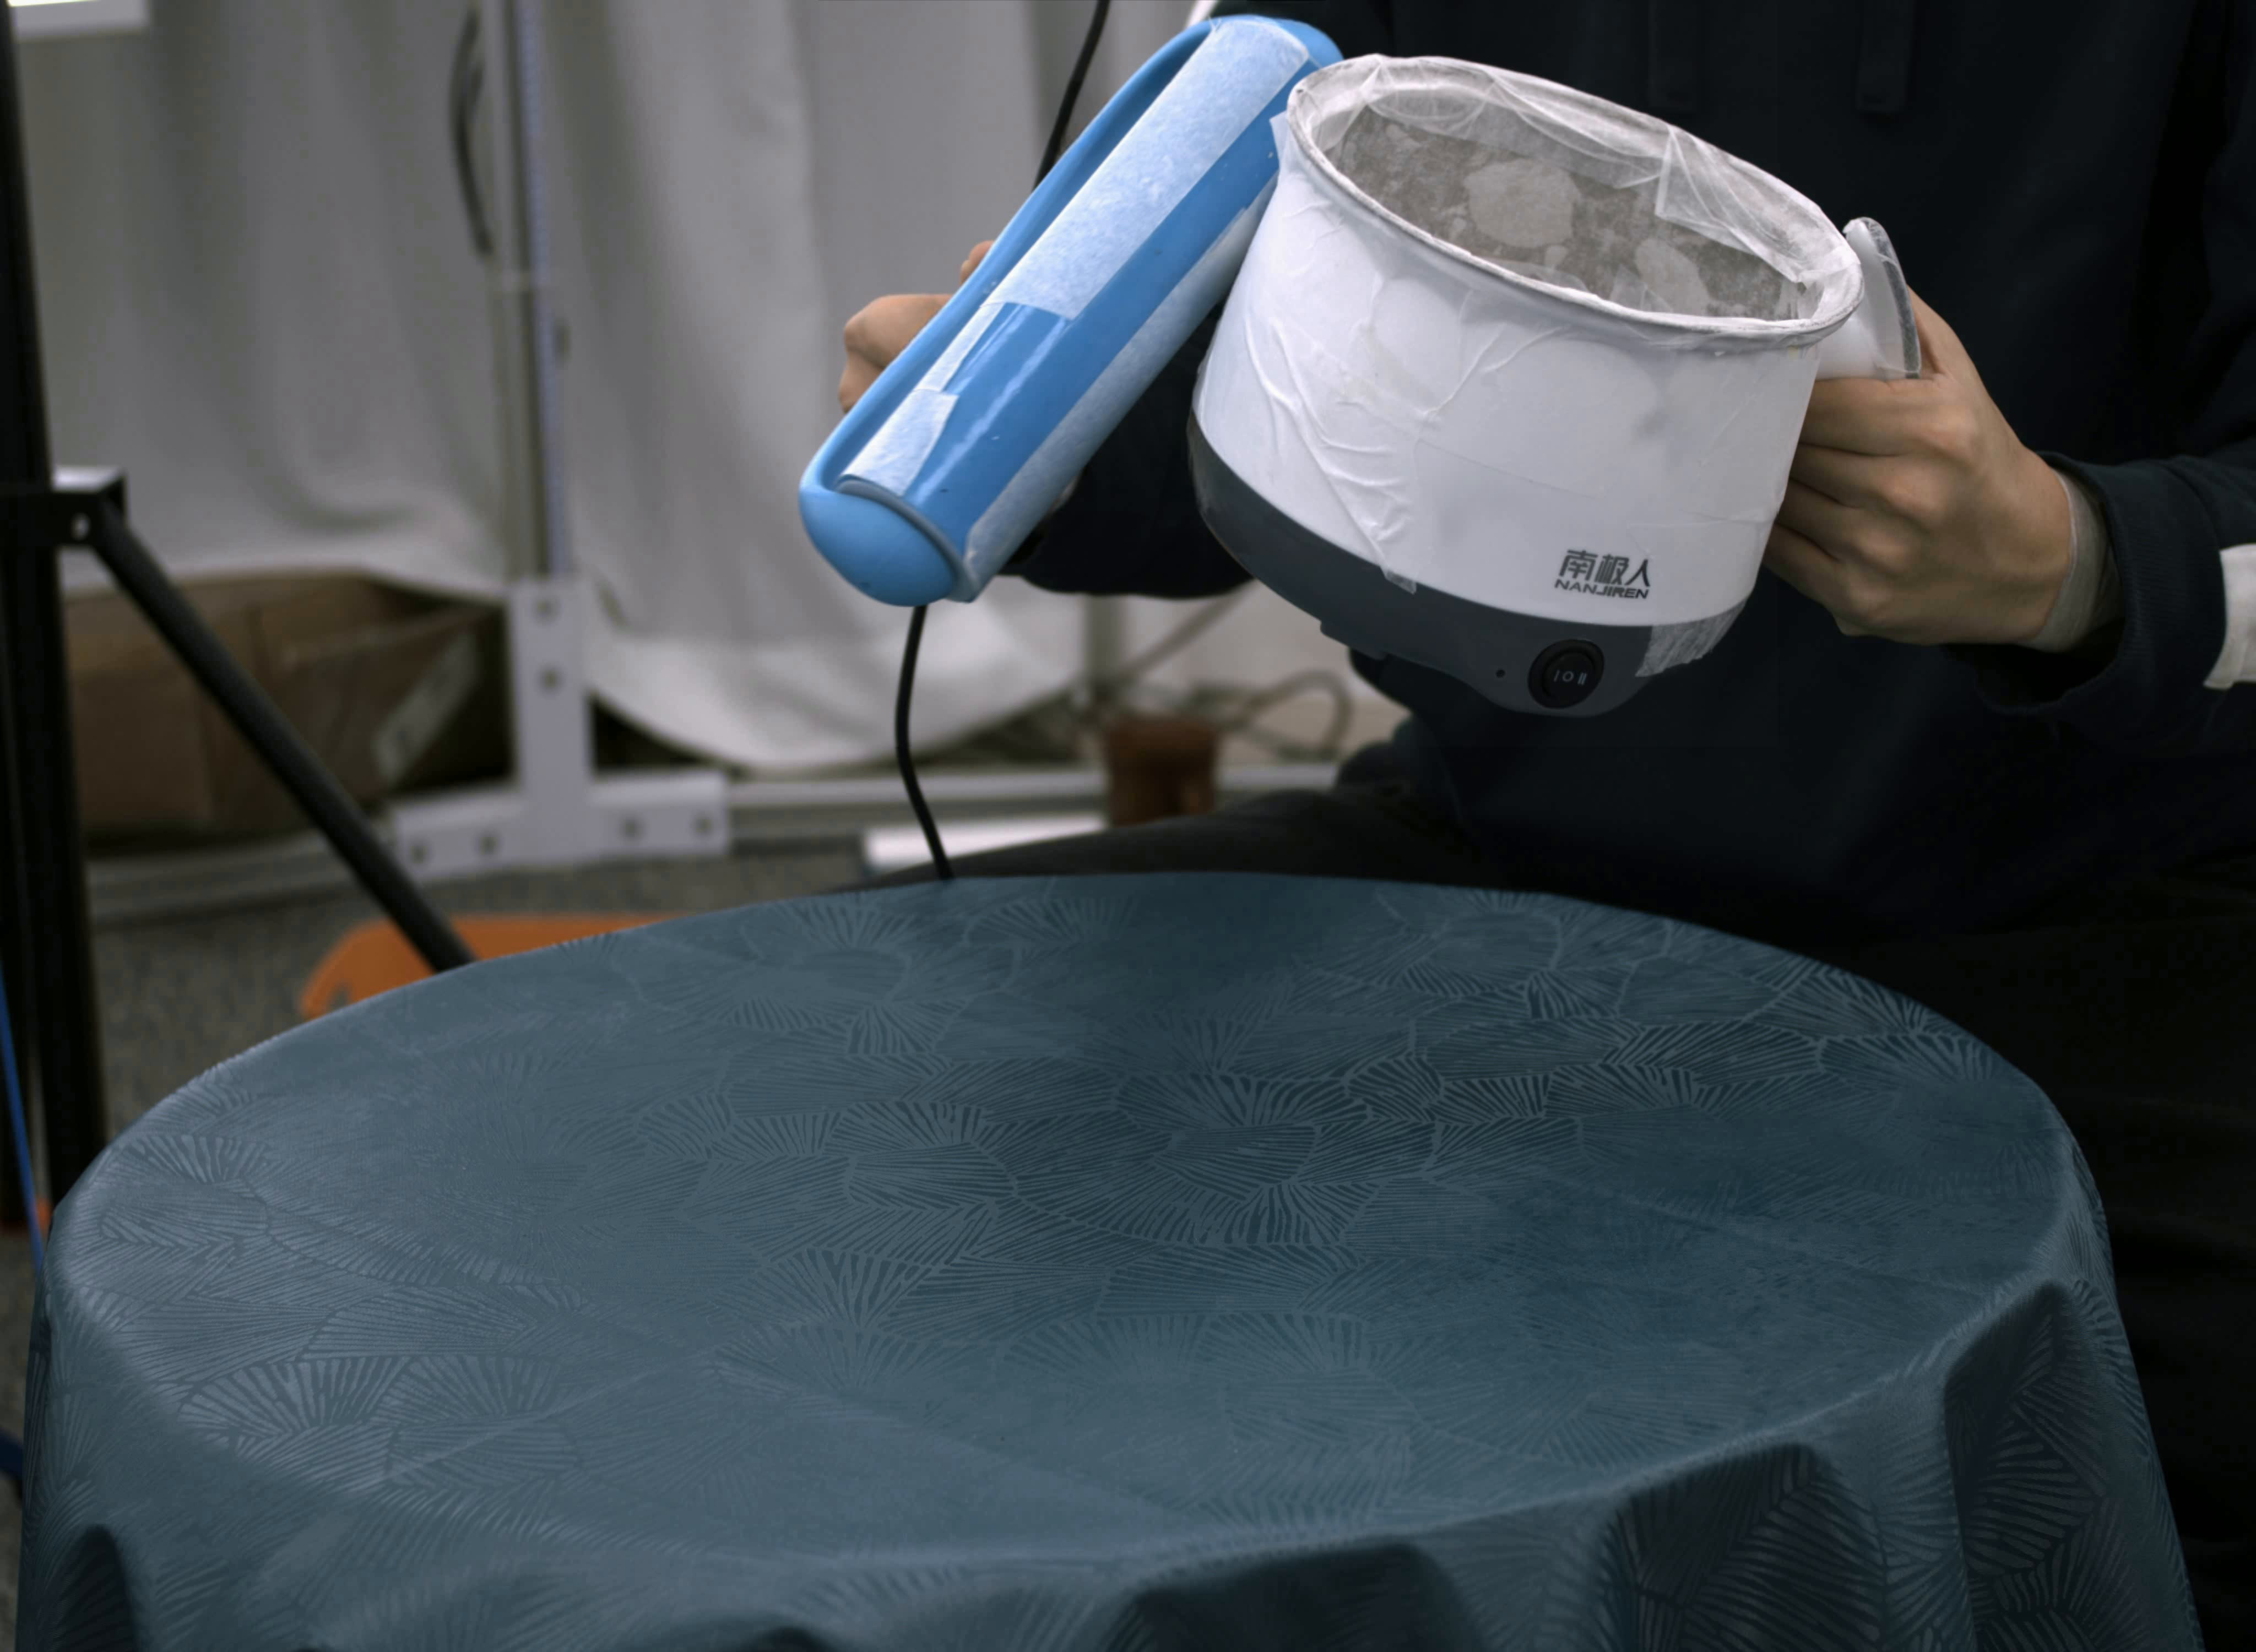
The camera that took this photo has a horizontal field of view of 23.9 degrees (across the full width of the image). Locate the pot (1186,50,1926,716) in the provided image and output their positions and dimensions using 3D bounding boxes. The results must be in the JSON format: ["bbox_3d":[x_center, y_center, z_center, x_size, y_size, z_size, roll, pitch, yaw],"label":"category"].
[{"bbox_3d":[0.137,-0.130,1.578,0.228,0.137,0.182,4,30,-24],"label":"pot"}]

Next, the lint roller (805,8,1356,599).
[{"bbox_3d":[-0.029,-0.144,1.637,0.228,0.067,0.182,-53,8,-22],"label":"lint roller"}]
